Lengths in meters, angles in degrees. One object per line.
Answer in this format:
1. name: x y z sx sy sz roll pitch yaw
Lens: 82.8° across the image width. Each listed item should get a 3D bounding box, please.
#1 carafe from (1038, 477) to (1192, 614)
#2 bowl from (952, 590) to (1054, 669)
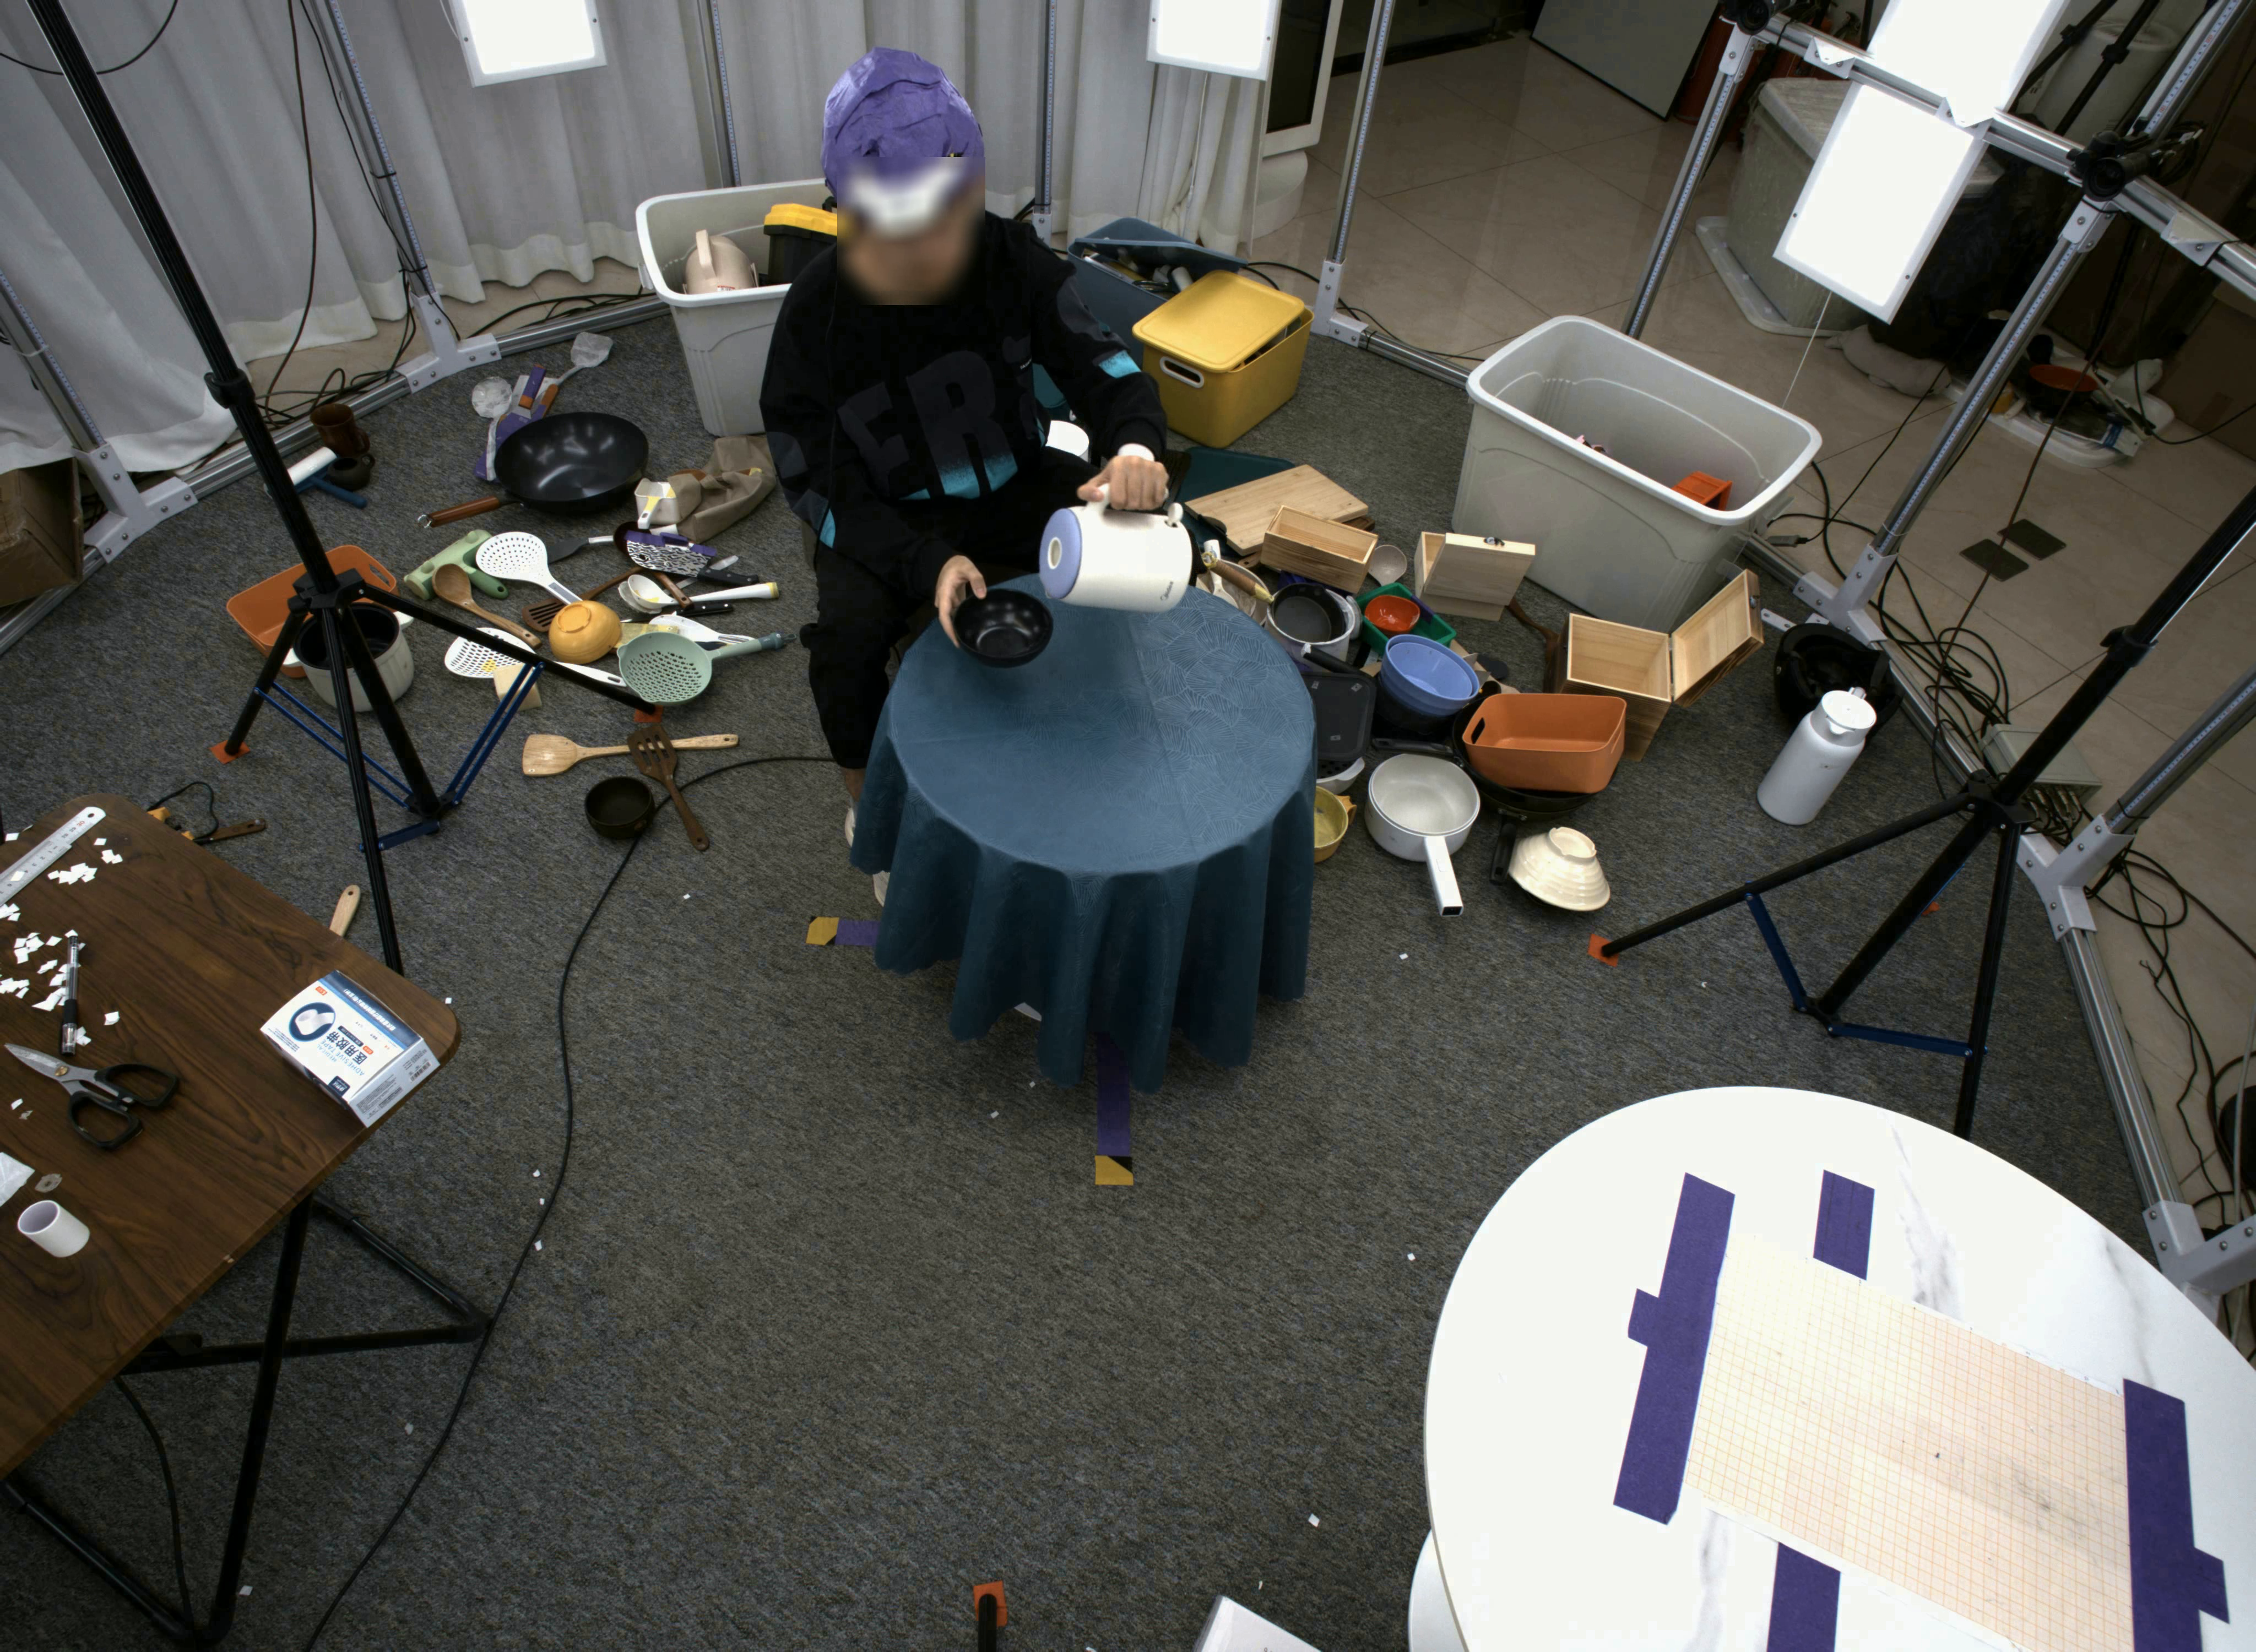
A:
1. carafe: -0.009 -0.376 1.715 0.181 0.187 0.135 3 40 -31
2. bowl: -0.172 -0.264 1.782 0.140 0.048 0.143 2 49 -3
